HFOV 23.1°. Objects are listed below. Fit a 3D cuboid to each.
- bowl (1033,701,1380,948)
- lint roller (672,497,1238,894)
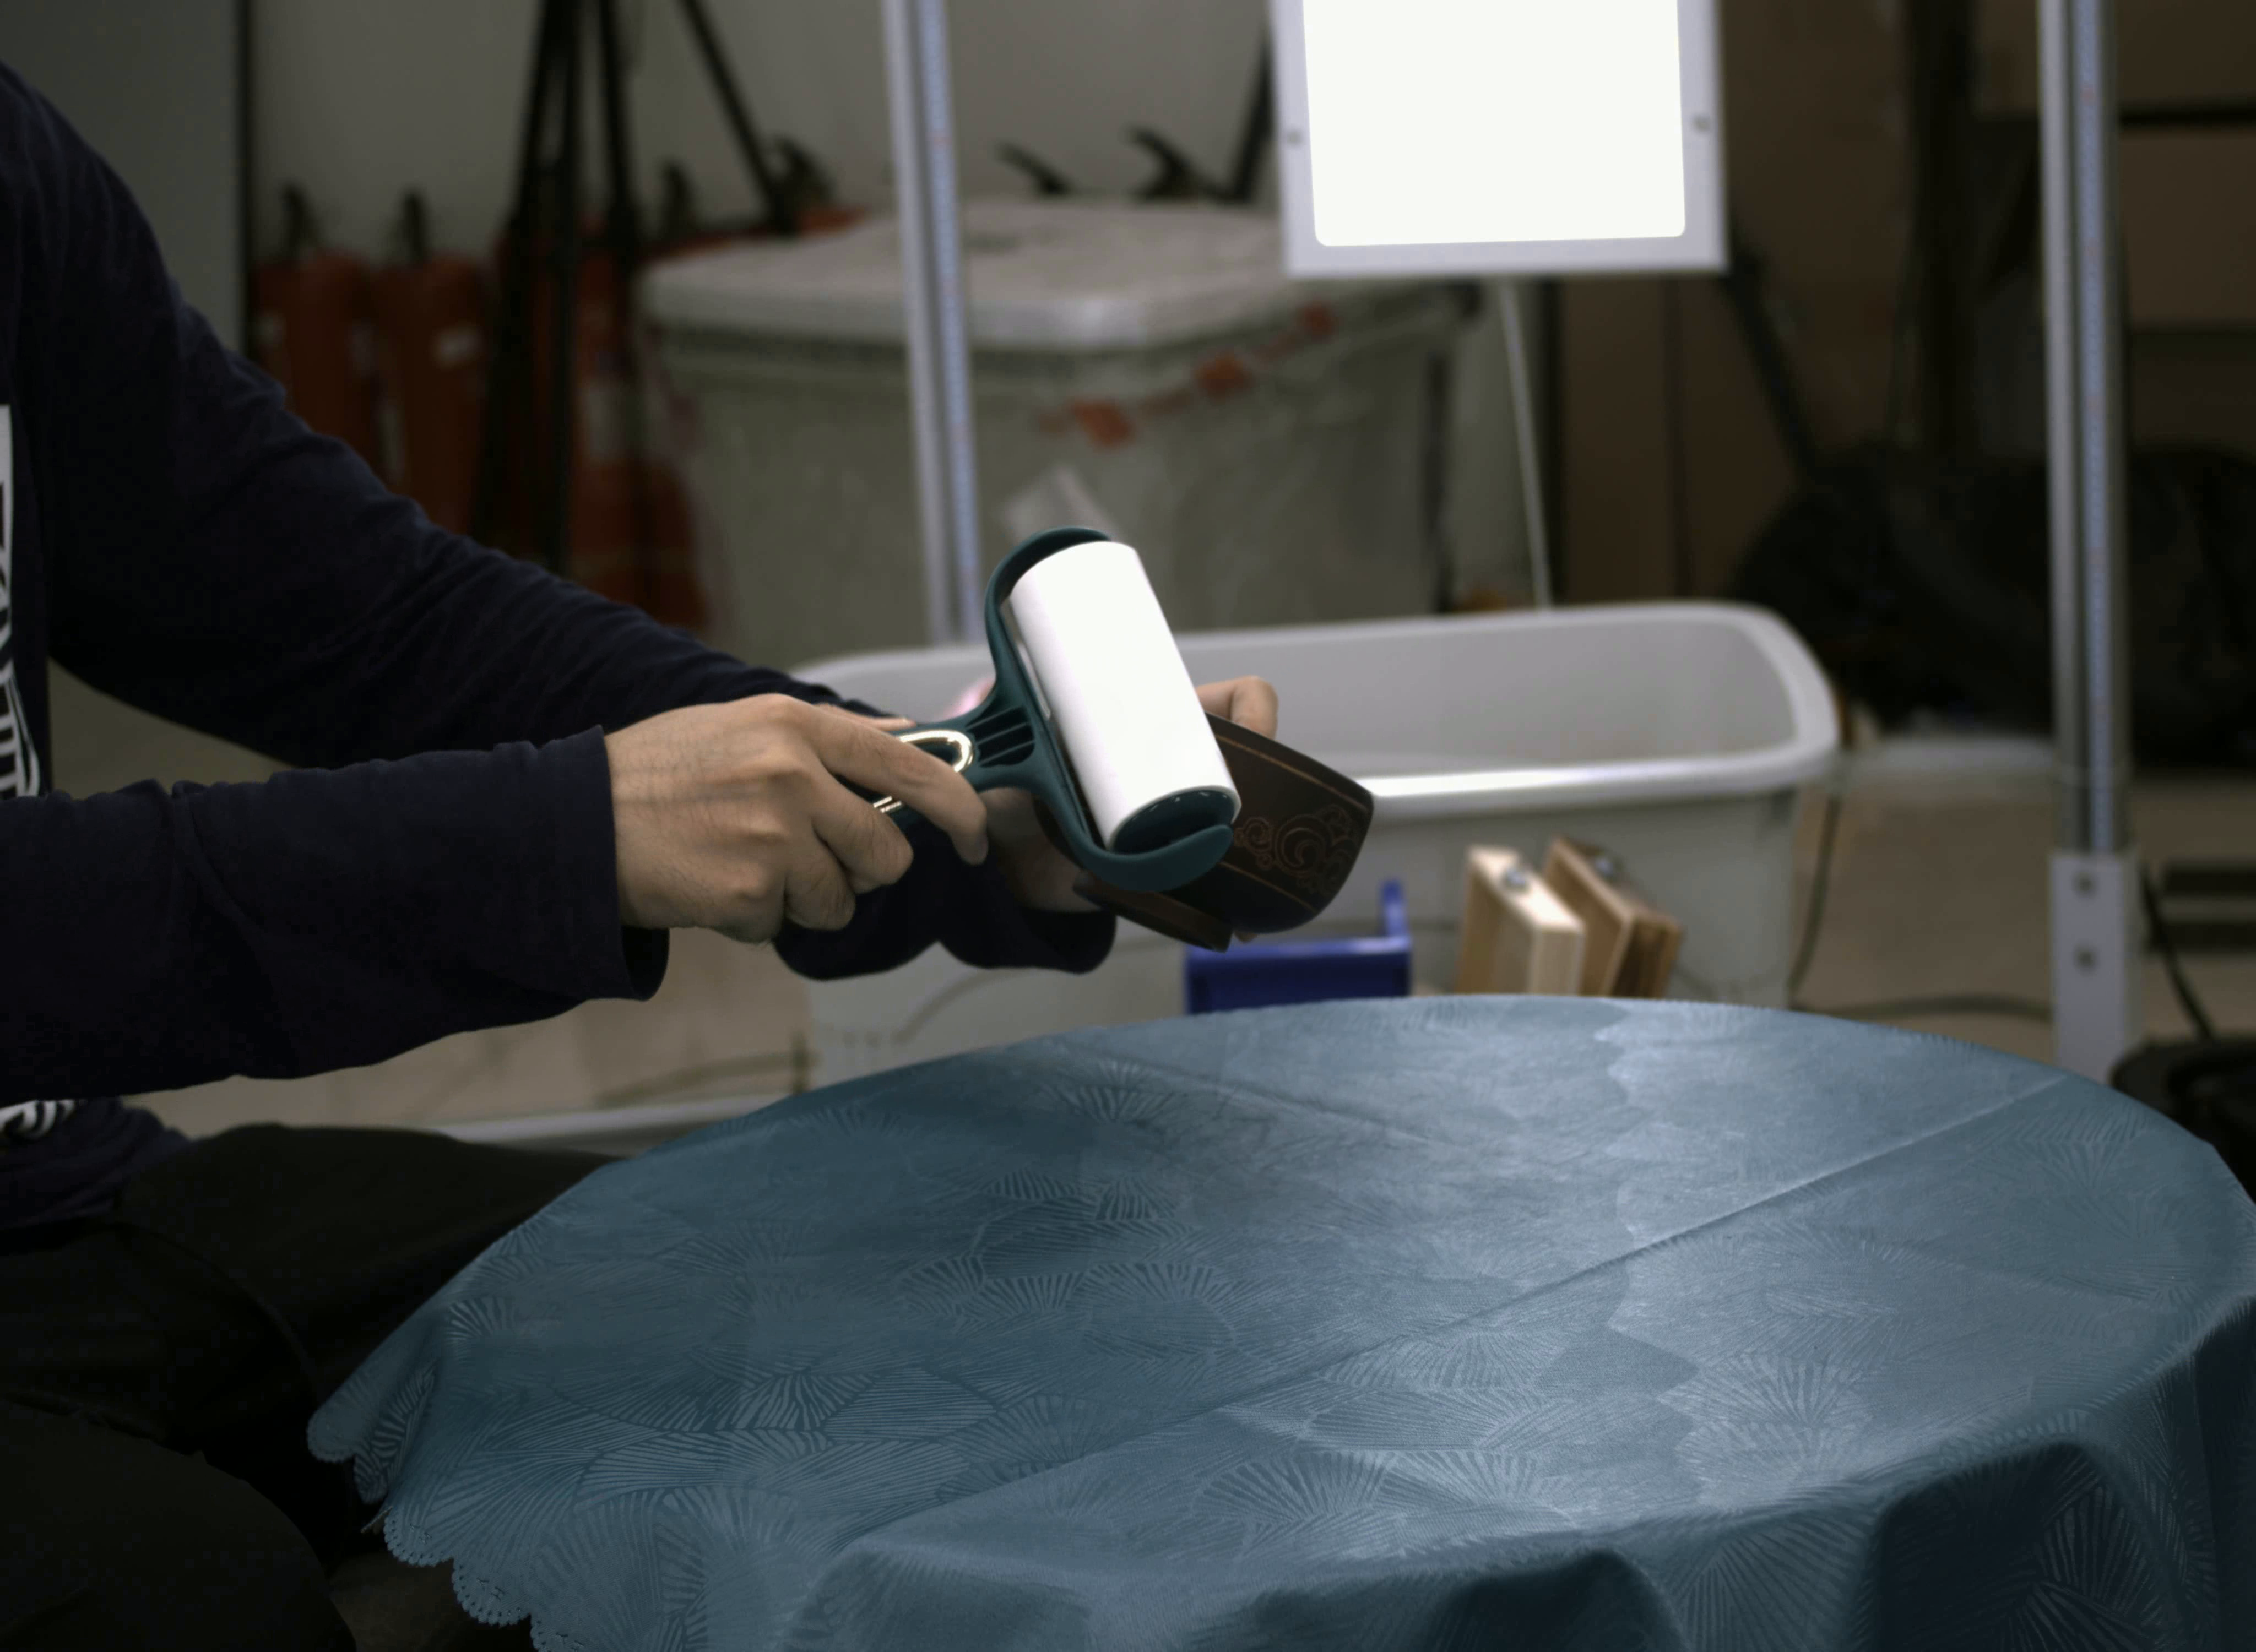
[{"bbox_3d":[0.022,0.000,1.888,0.118,0.070,0.118,20,-5,0],"label":"bowl"},{"bbox_3d":[-0.065,-0.023,1.808,0.178,0.135,0.048,-18,-27,-8],"label":"lint roller"}]
